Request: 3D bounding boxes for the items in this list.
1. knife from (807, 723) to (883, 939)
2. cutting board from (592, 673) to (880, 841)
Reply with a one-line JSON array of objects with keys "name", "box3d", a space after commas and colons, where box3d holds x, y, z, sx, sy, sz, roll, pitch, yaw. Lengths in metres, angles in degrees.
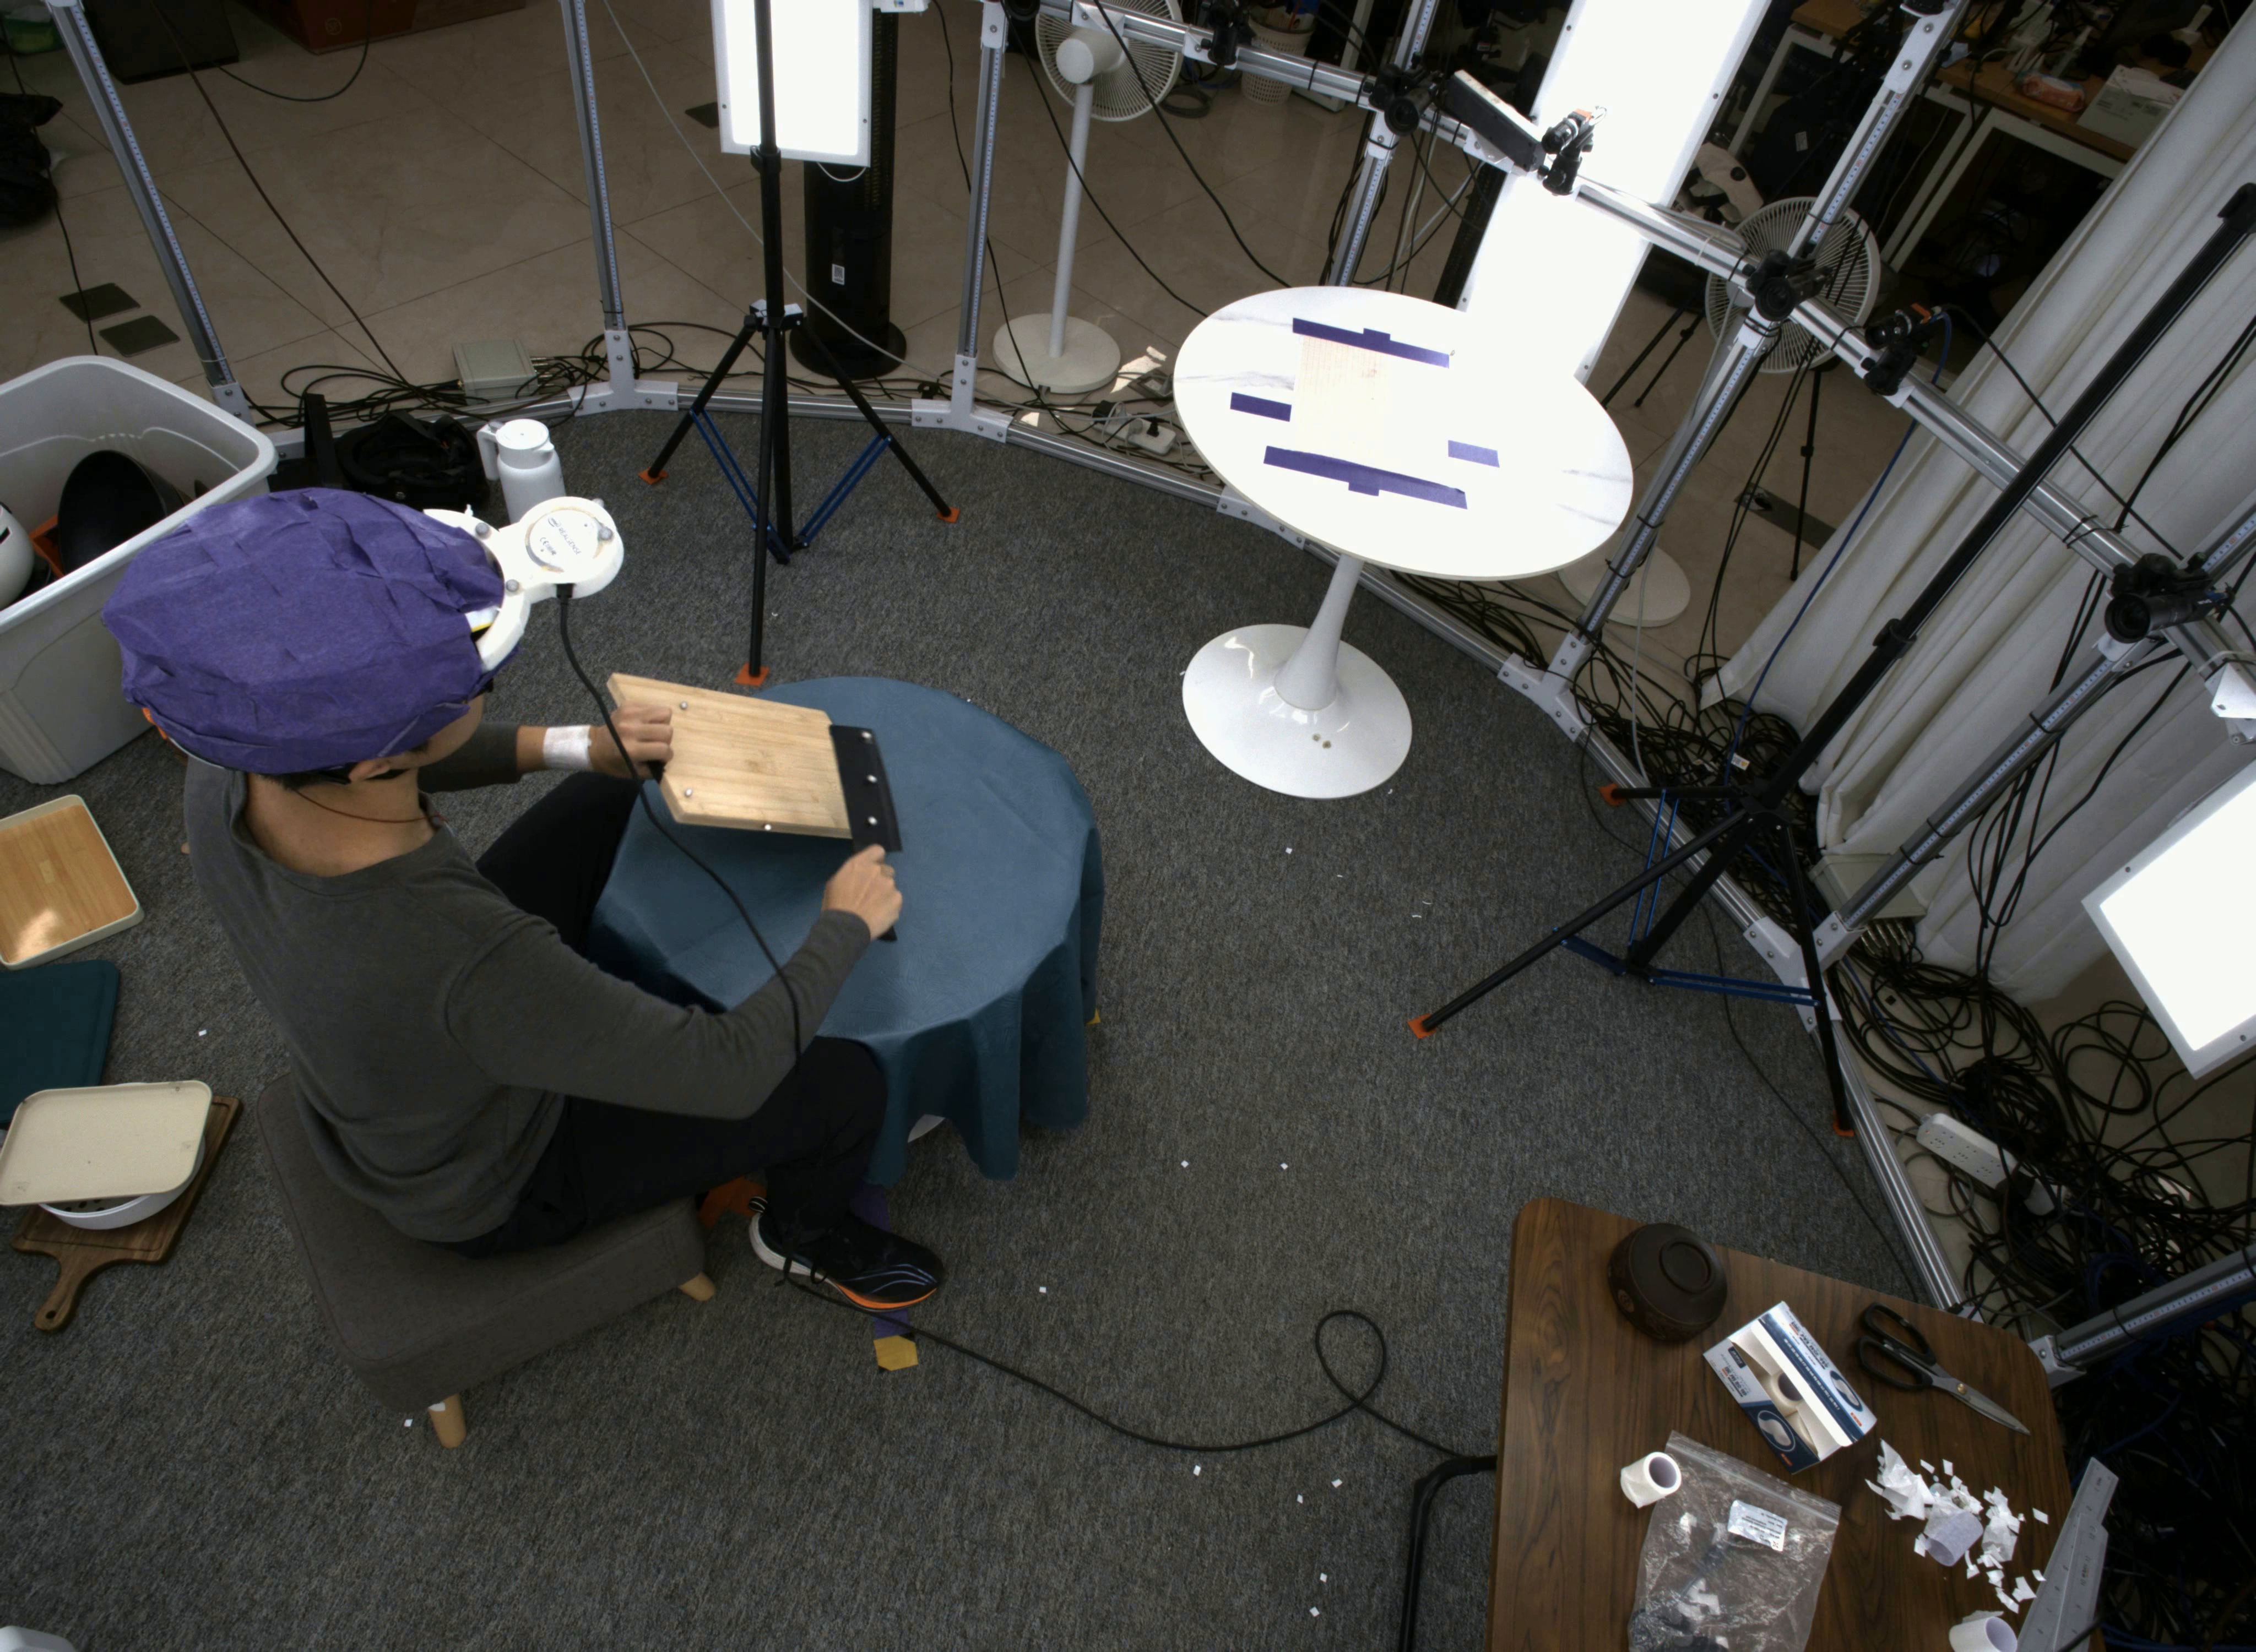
[{"name": "knife", "box3d": [-0.337, -0.001, 1.588, 0.082, 0.021, 0.297, 6, 57, -38]}, {"name": "cutting board", "box3d": [-0.494, -0.082, 1.639, 0.356, 0.023, 0.244, 6, 41, -56]}]
